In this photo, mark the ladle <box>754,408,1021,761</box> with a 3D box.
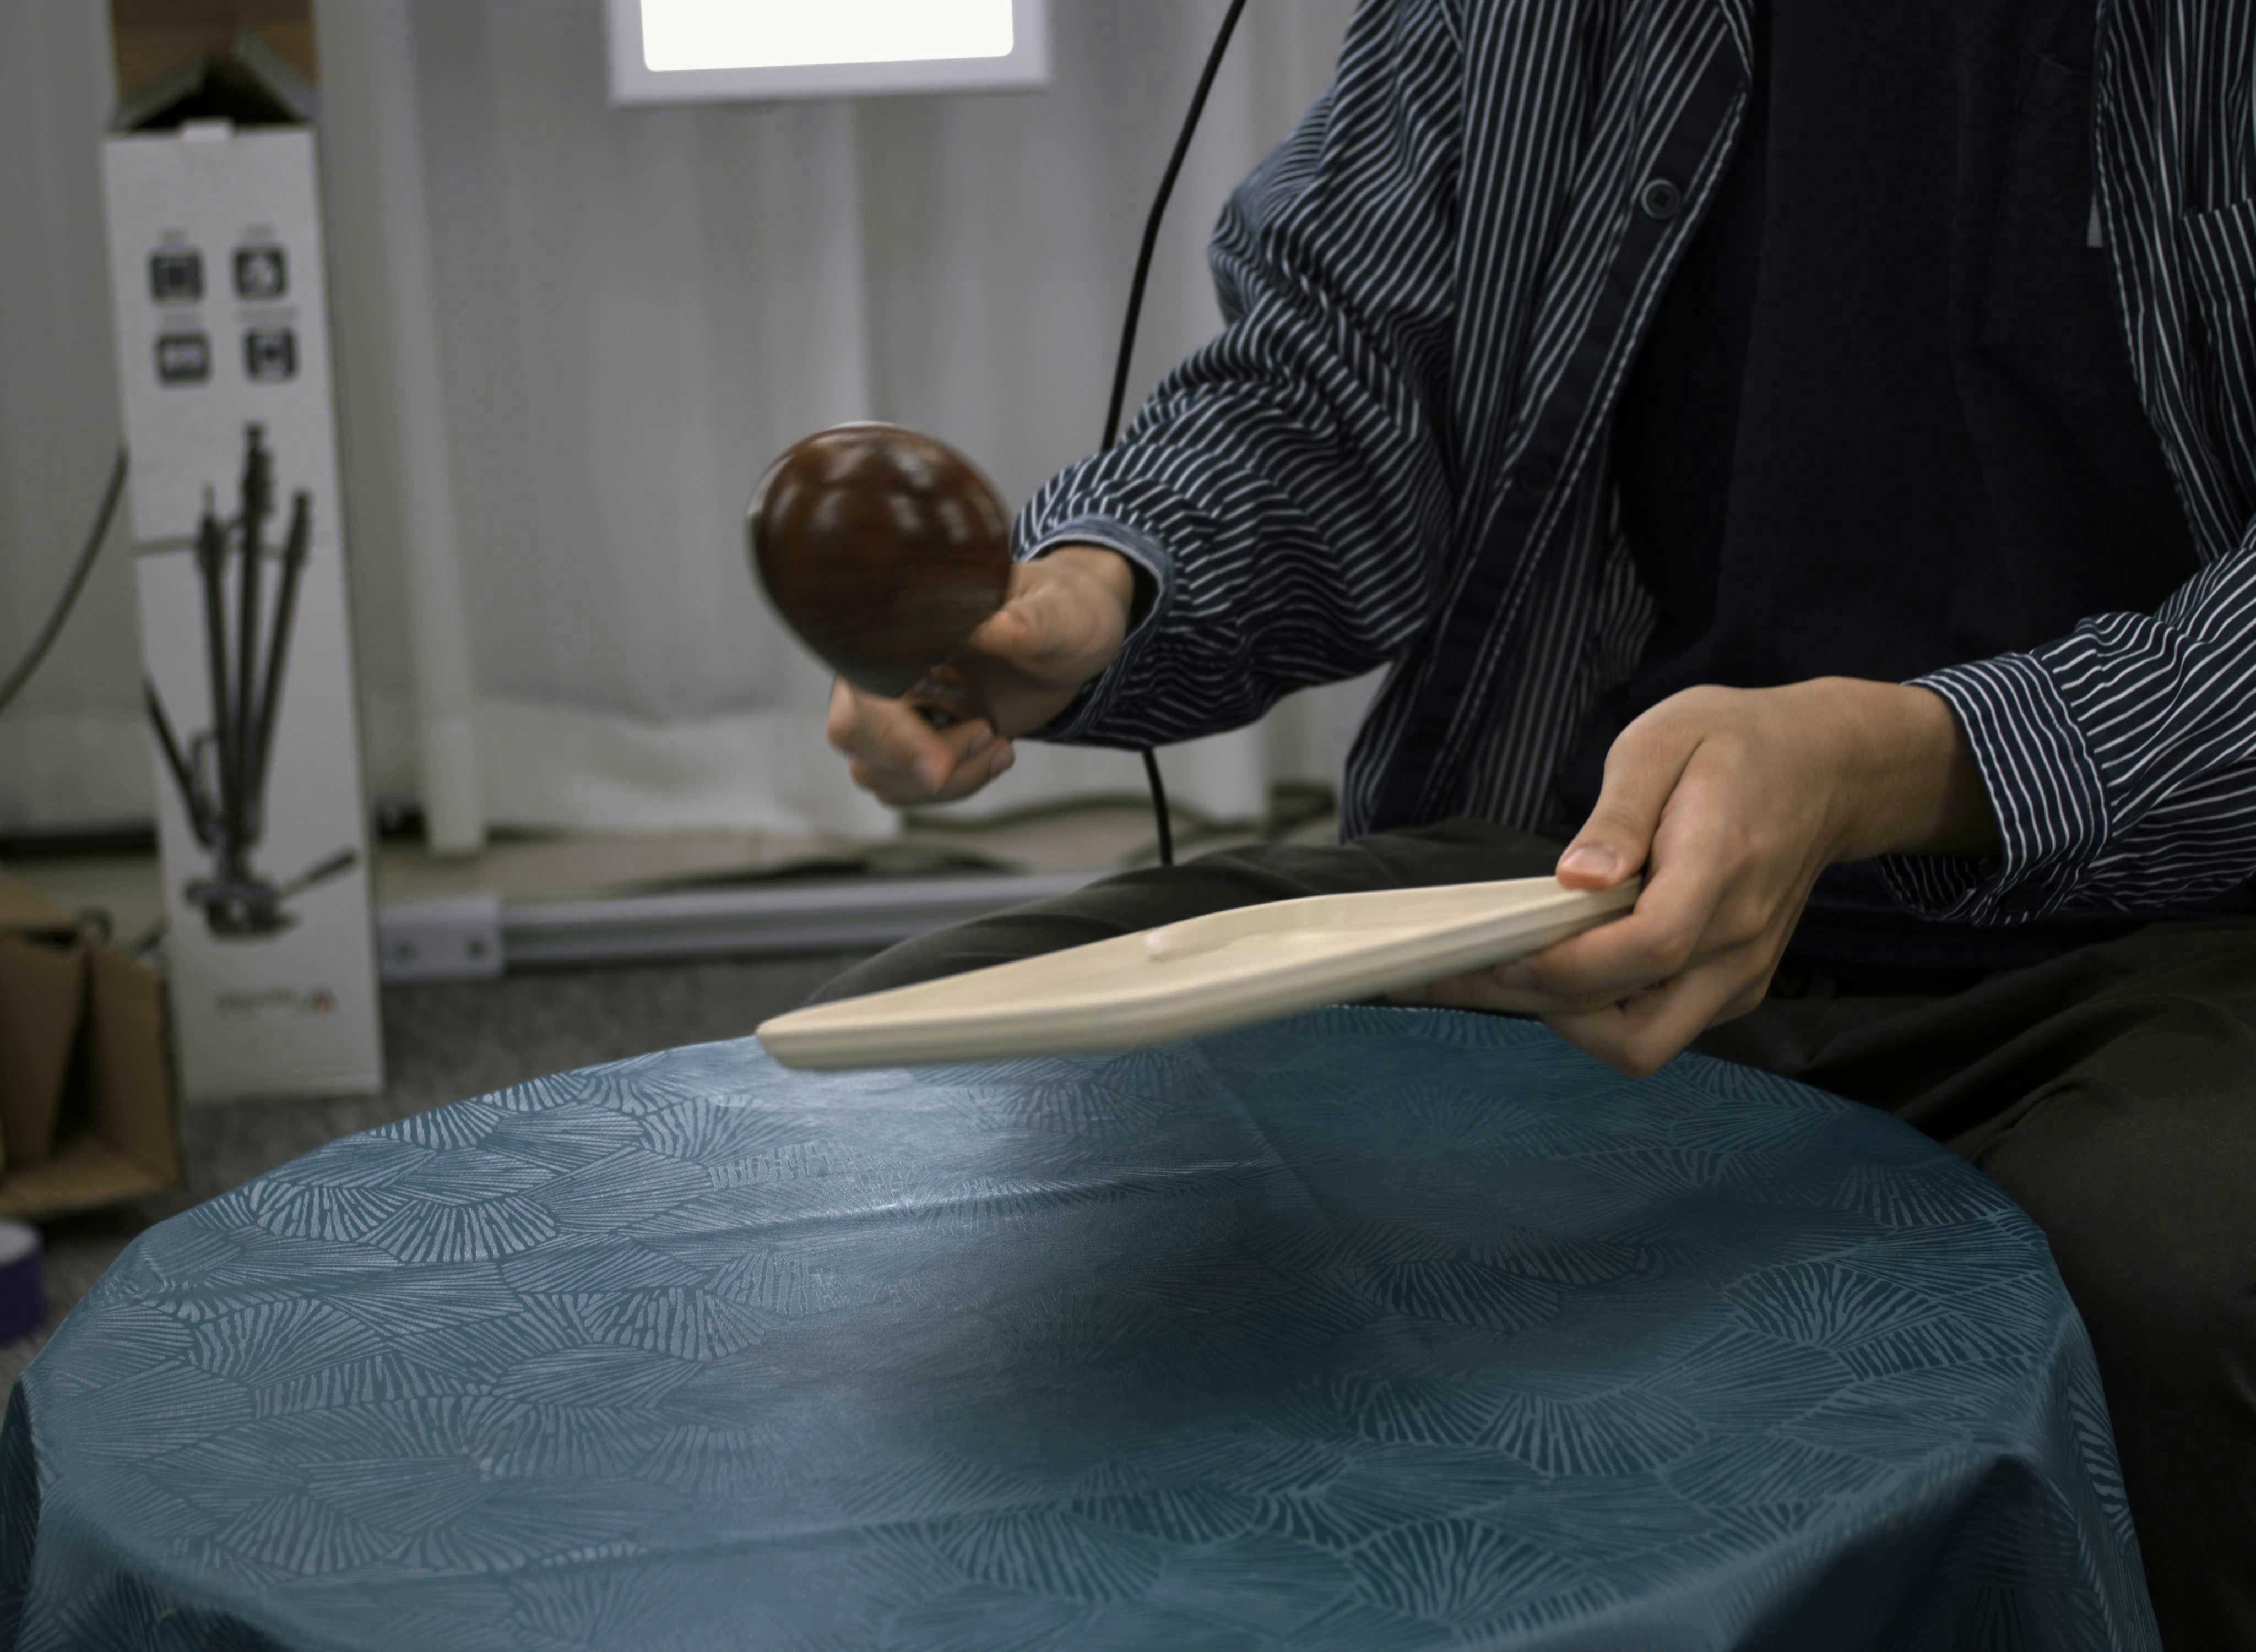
[{"bbox_3d":[-0.059,-0.073,1.714,0.082,0.077,0.273,21,-2,9],"label":"ladle"}]

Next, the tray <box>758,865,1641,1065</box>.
[{"bbox_3d":[0.024,0.041,1.587,0.171,0.017,0.239,-6,4,45],"label":"tray"}]
